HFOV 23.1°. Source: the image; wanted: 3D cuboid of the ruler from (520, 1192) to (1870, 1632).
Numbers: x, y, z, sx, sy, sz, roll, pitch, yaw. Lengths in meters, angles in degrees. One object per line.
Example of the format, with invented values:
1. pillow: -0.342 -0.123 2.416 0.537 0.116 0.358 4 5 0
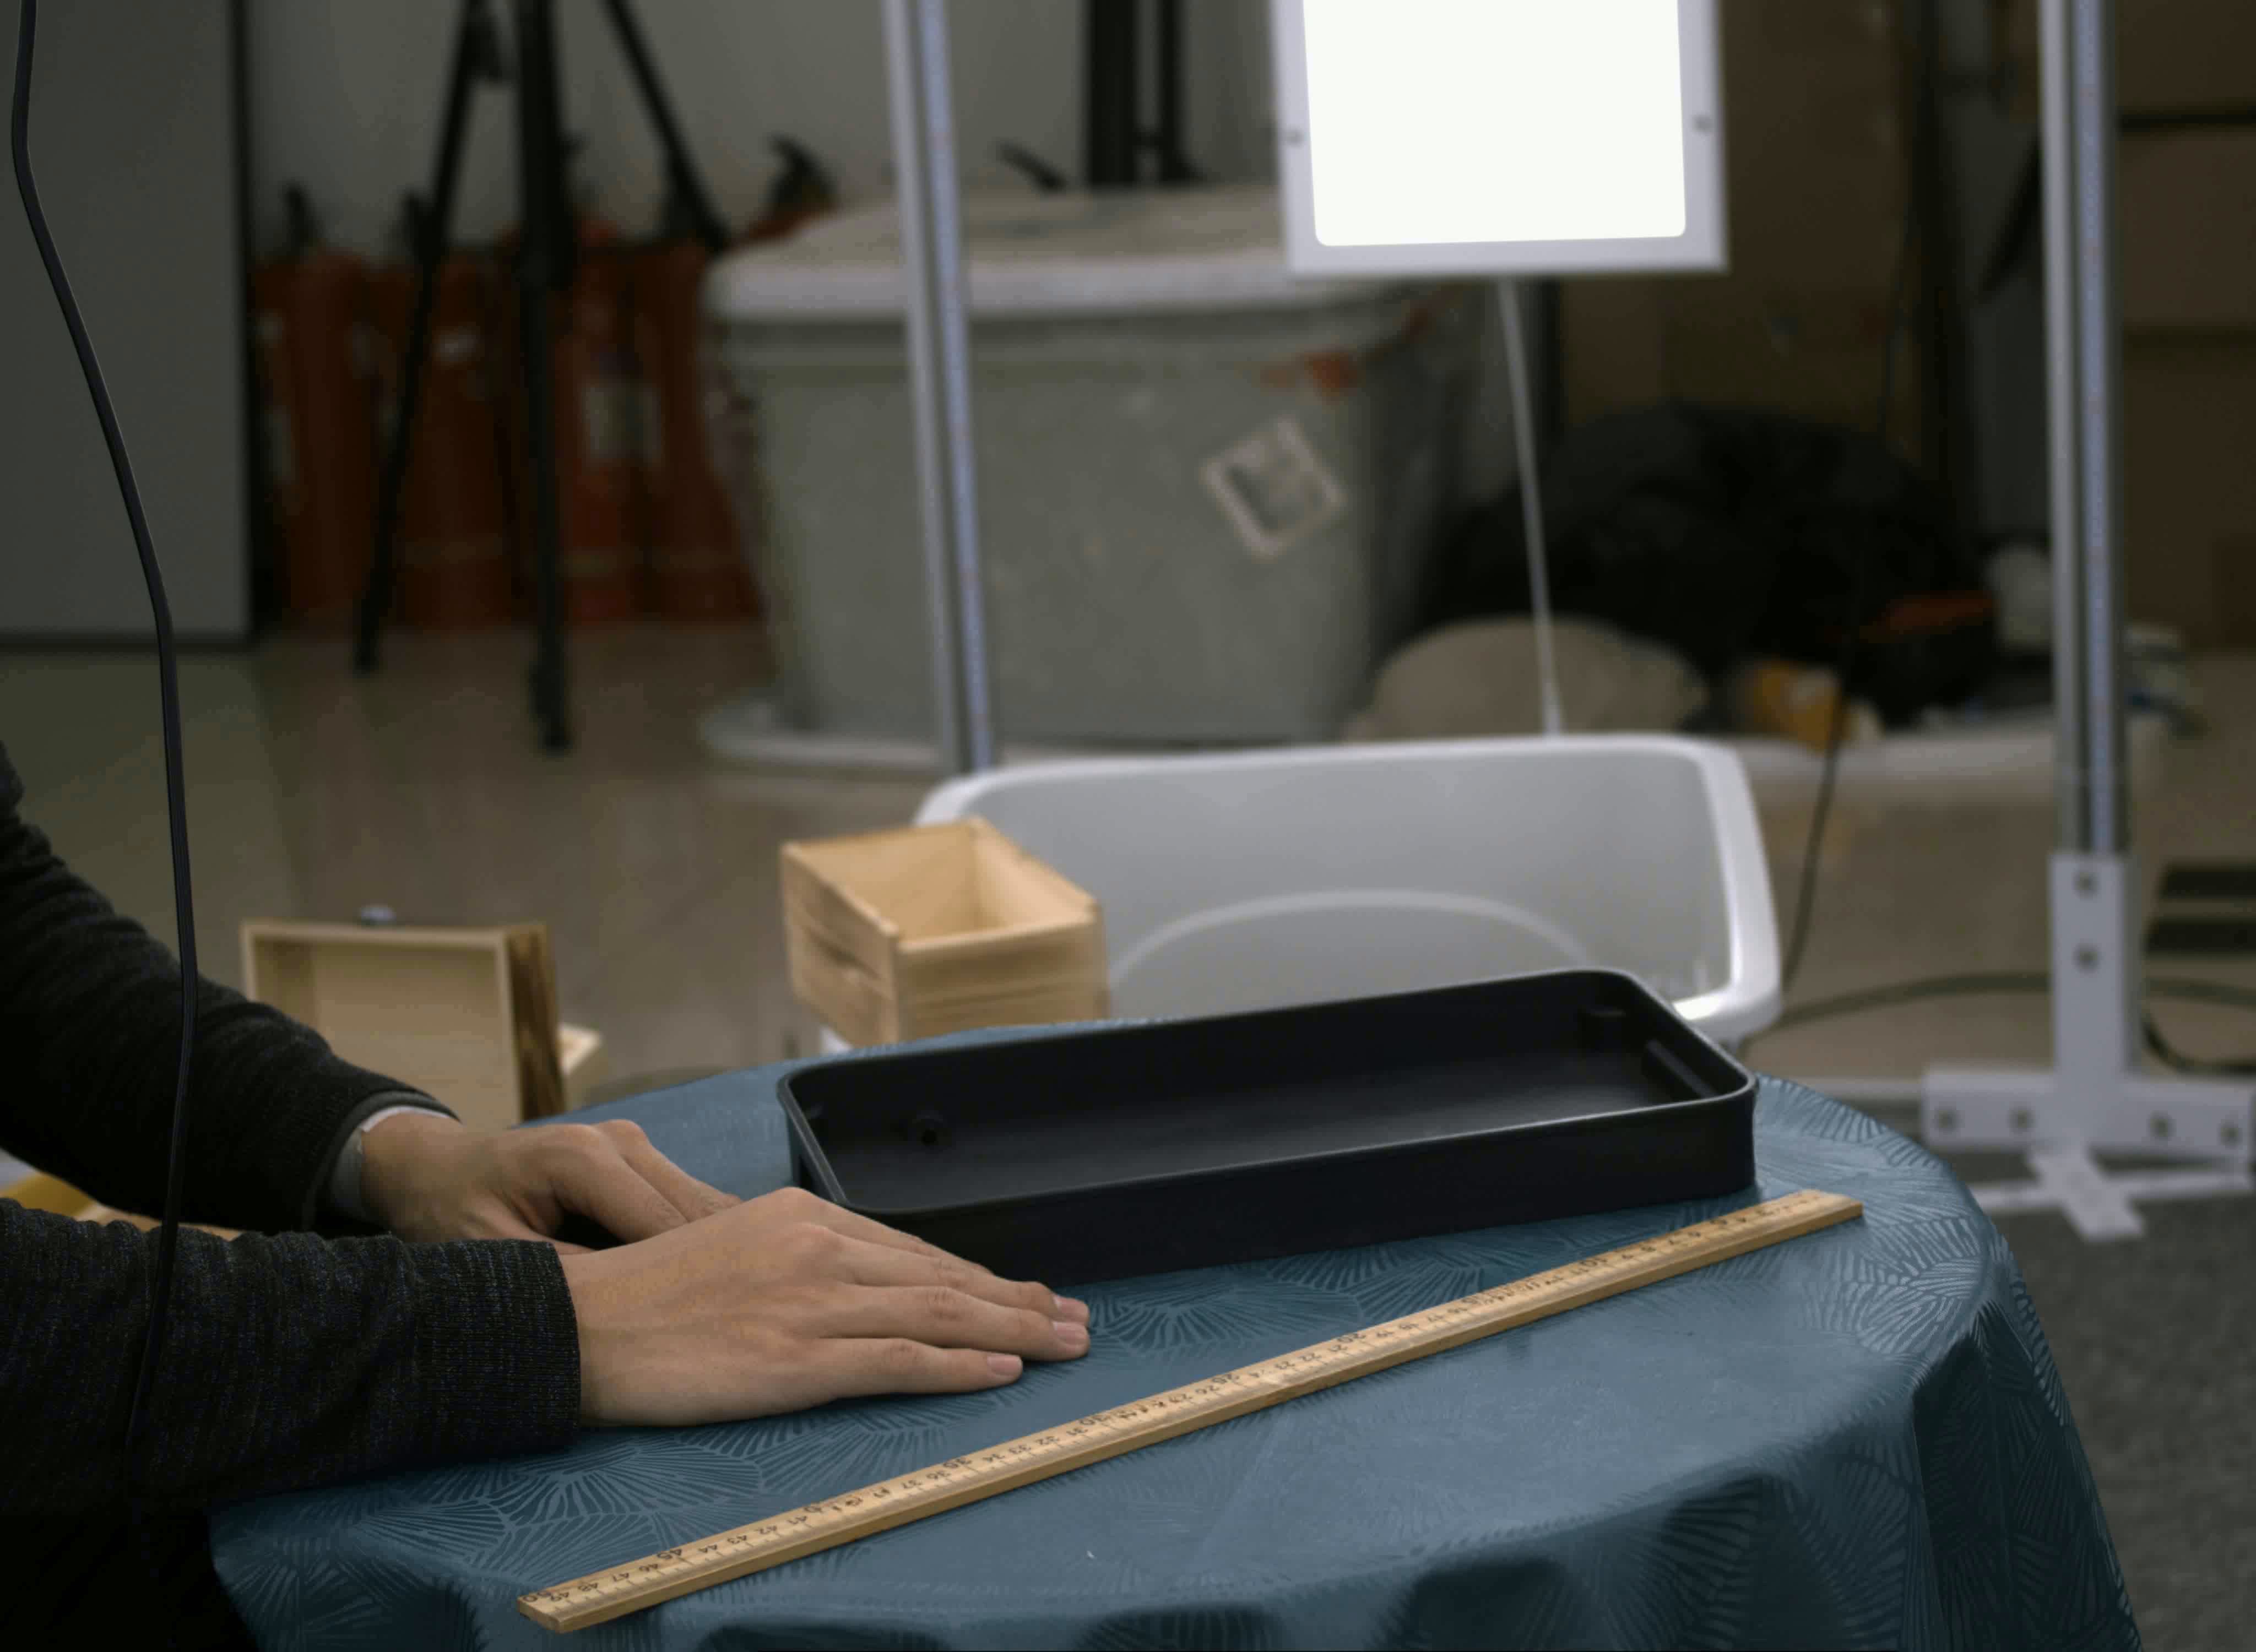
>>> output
1. ruler: 0.035 0.173 1.684 0.489 0.006 0.027 -14 14 -31

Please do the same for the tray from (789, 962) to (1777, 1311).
1. tray: 0.051 0.104 1.898 0.314 0.037 0.185 -8 14 -9
